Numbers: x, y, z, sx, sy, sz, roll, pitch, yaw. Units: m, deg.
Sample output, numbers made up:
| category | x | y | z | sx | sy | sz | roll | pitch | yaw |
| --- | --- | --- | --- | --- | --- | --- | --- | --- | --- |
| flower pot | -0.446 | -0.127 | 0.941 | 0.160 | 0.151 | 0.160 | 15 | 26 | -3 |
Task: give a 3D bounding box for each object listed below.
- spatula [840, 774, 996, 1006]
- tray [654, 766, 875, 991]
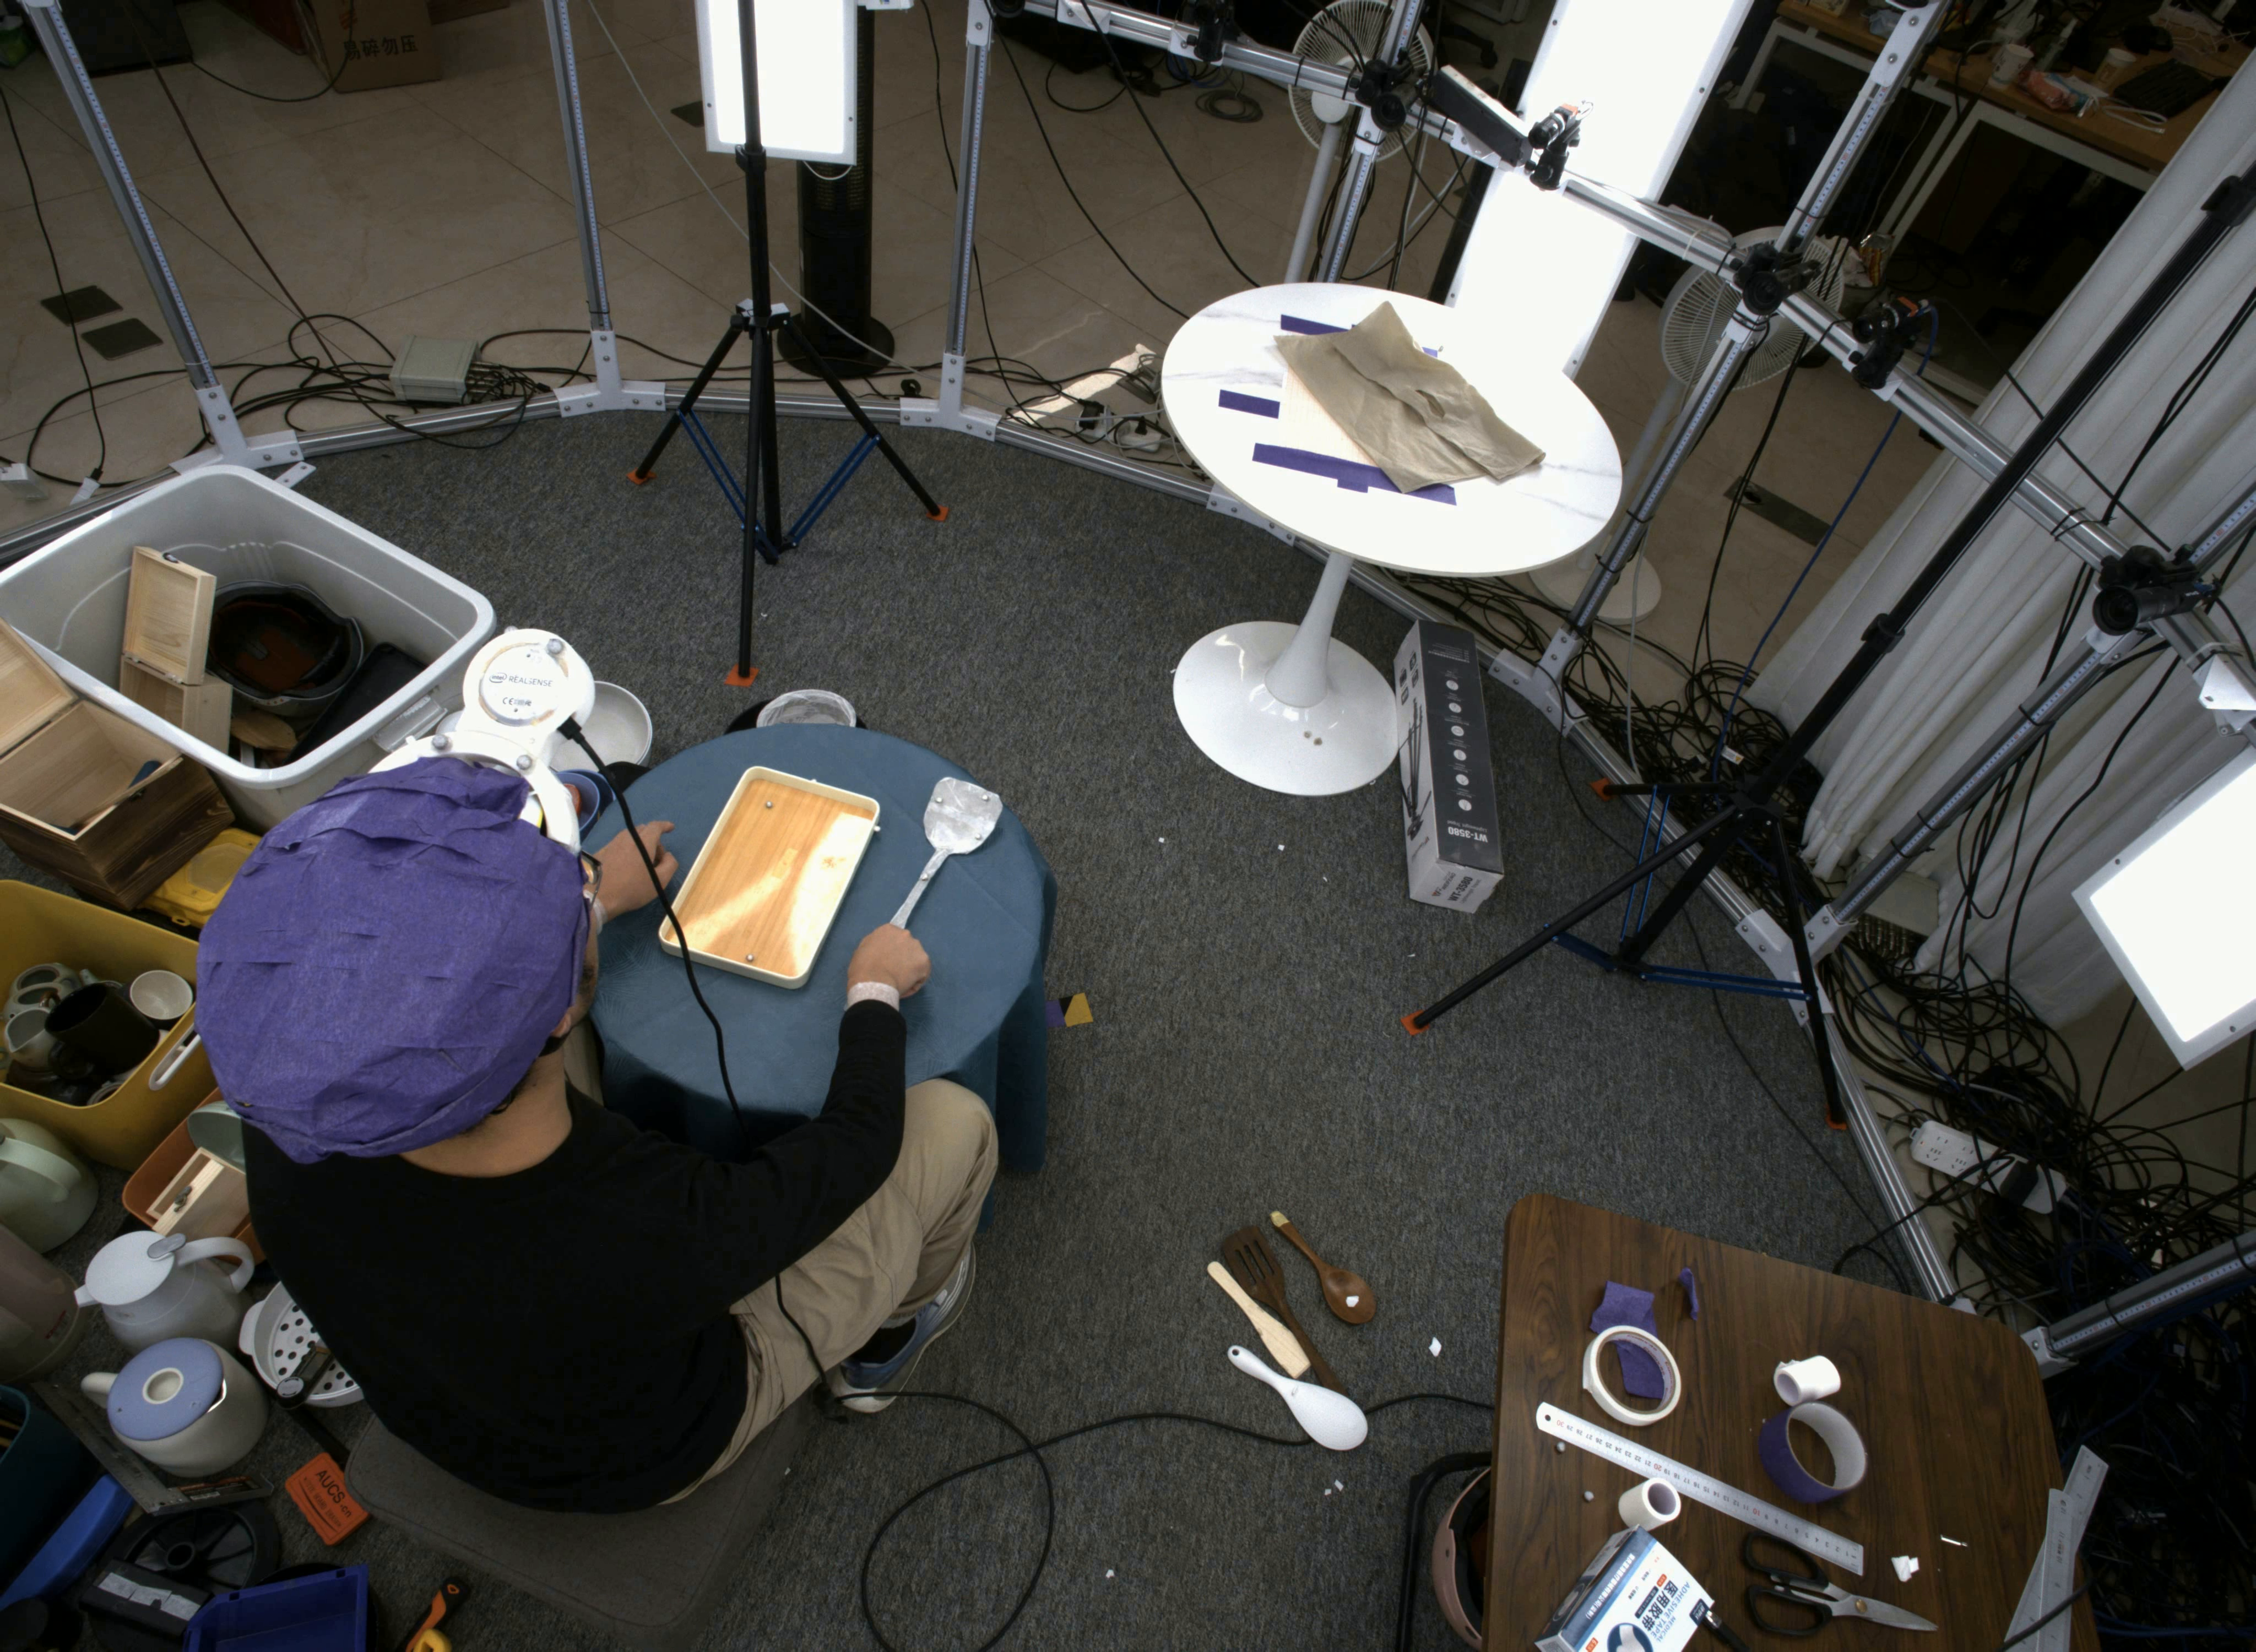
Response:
| category | x | y | z | sx | sy | sz | roll | pitch | yaw |
| --- | --- | --- | --- | --- | --- | --- | --- | --- | --- |
| spatula | -0.279 | 0.079 | 1.674 | 0.097 | 0.045 | 0.361 | 22 | 51 | 3 |
| tray | -0.457 | 0.059 | 1.649 | 0.190 | 0.028 | 0.296 | 17 | 52 | -2 |
